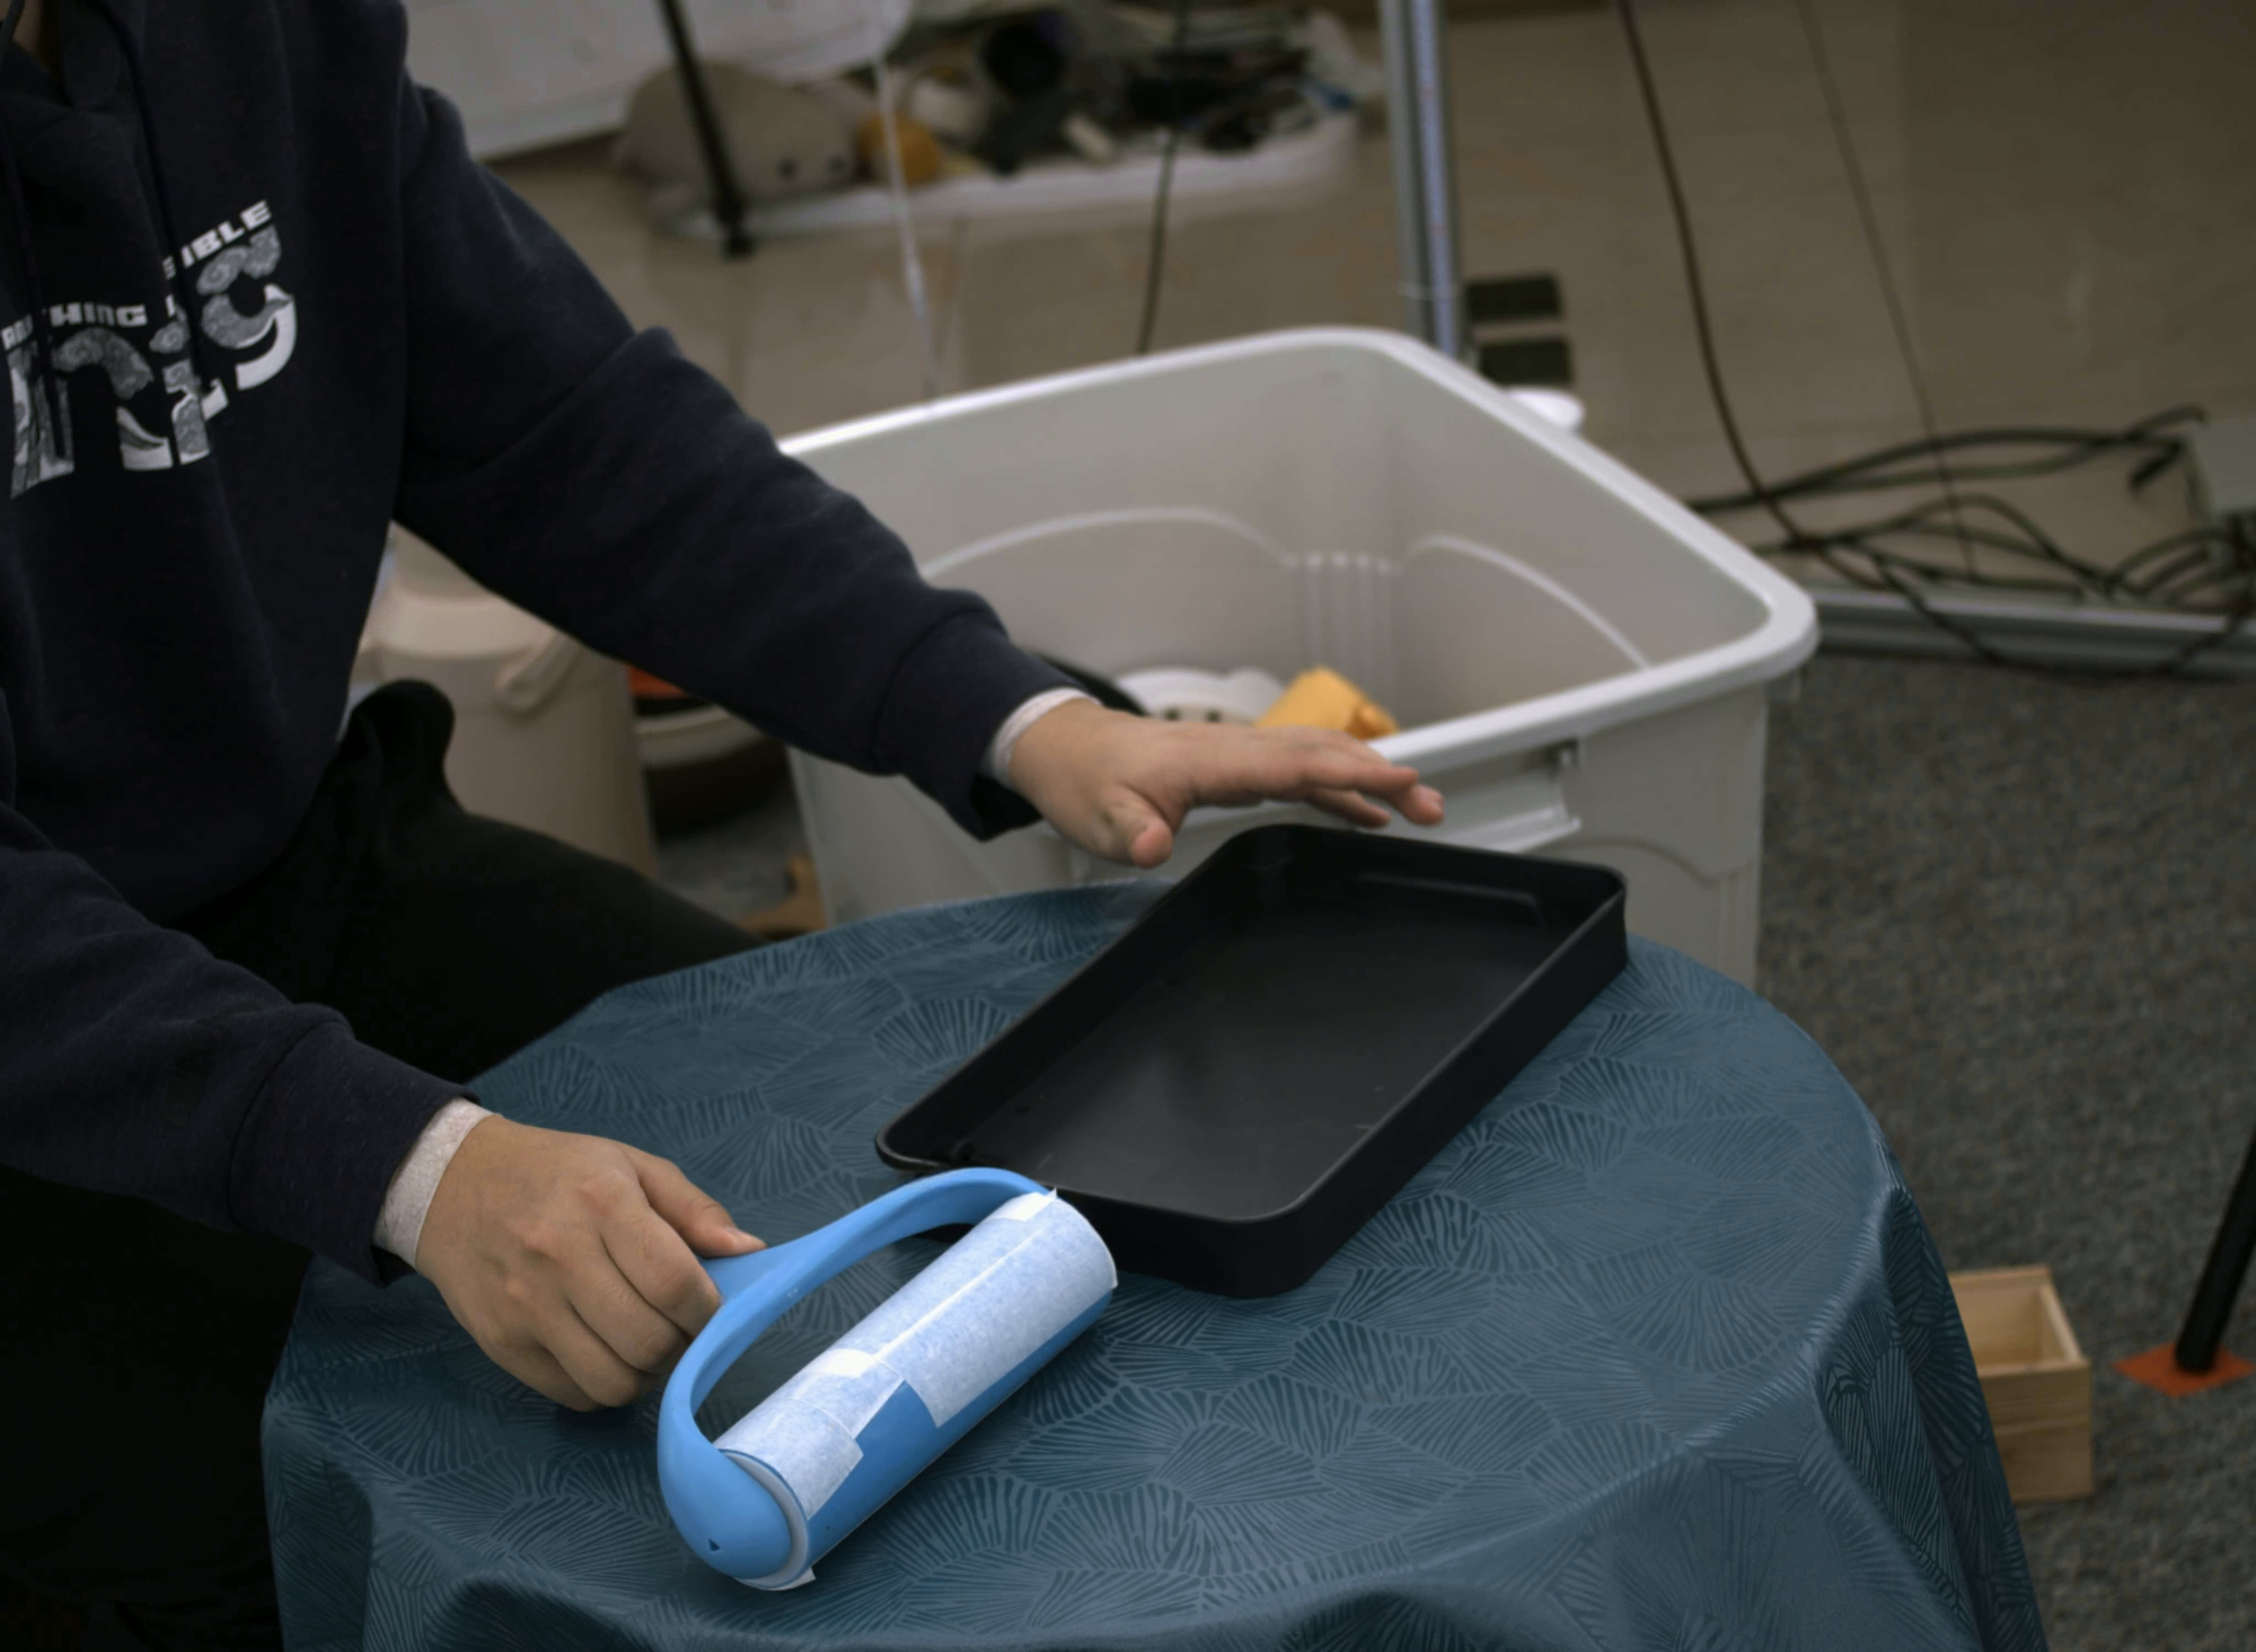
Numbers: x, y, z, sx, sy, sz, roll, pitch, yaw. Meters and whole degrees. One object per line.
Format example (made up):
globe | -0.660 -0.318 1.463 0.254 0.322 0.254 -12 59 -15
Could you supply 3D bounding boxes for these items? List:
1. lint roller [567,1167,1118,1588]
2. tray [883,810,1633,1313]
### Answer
lint roller | -0.128 0.183 2.008 0.179 0.069 0.226 12 32 28
tray | 0.057 0.086 2.214 0.183 0.037 0.314 8 31 29
